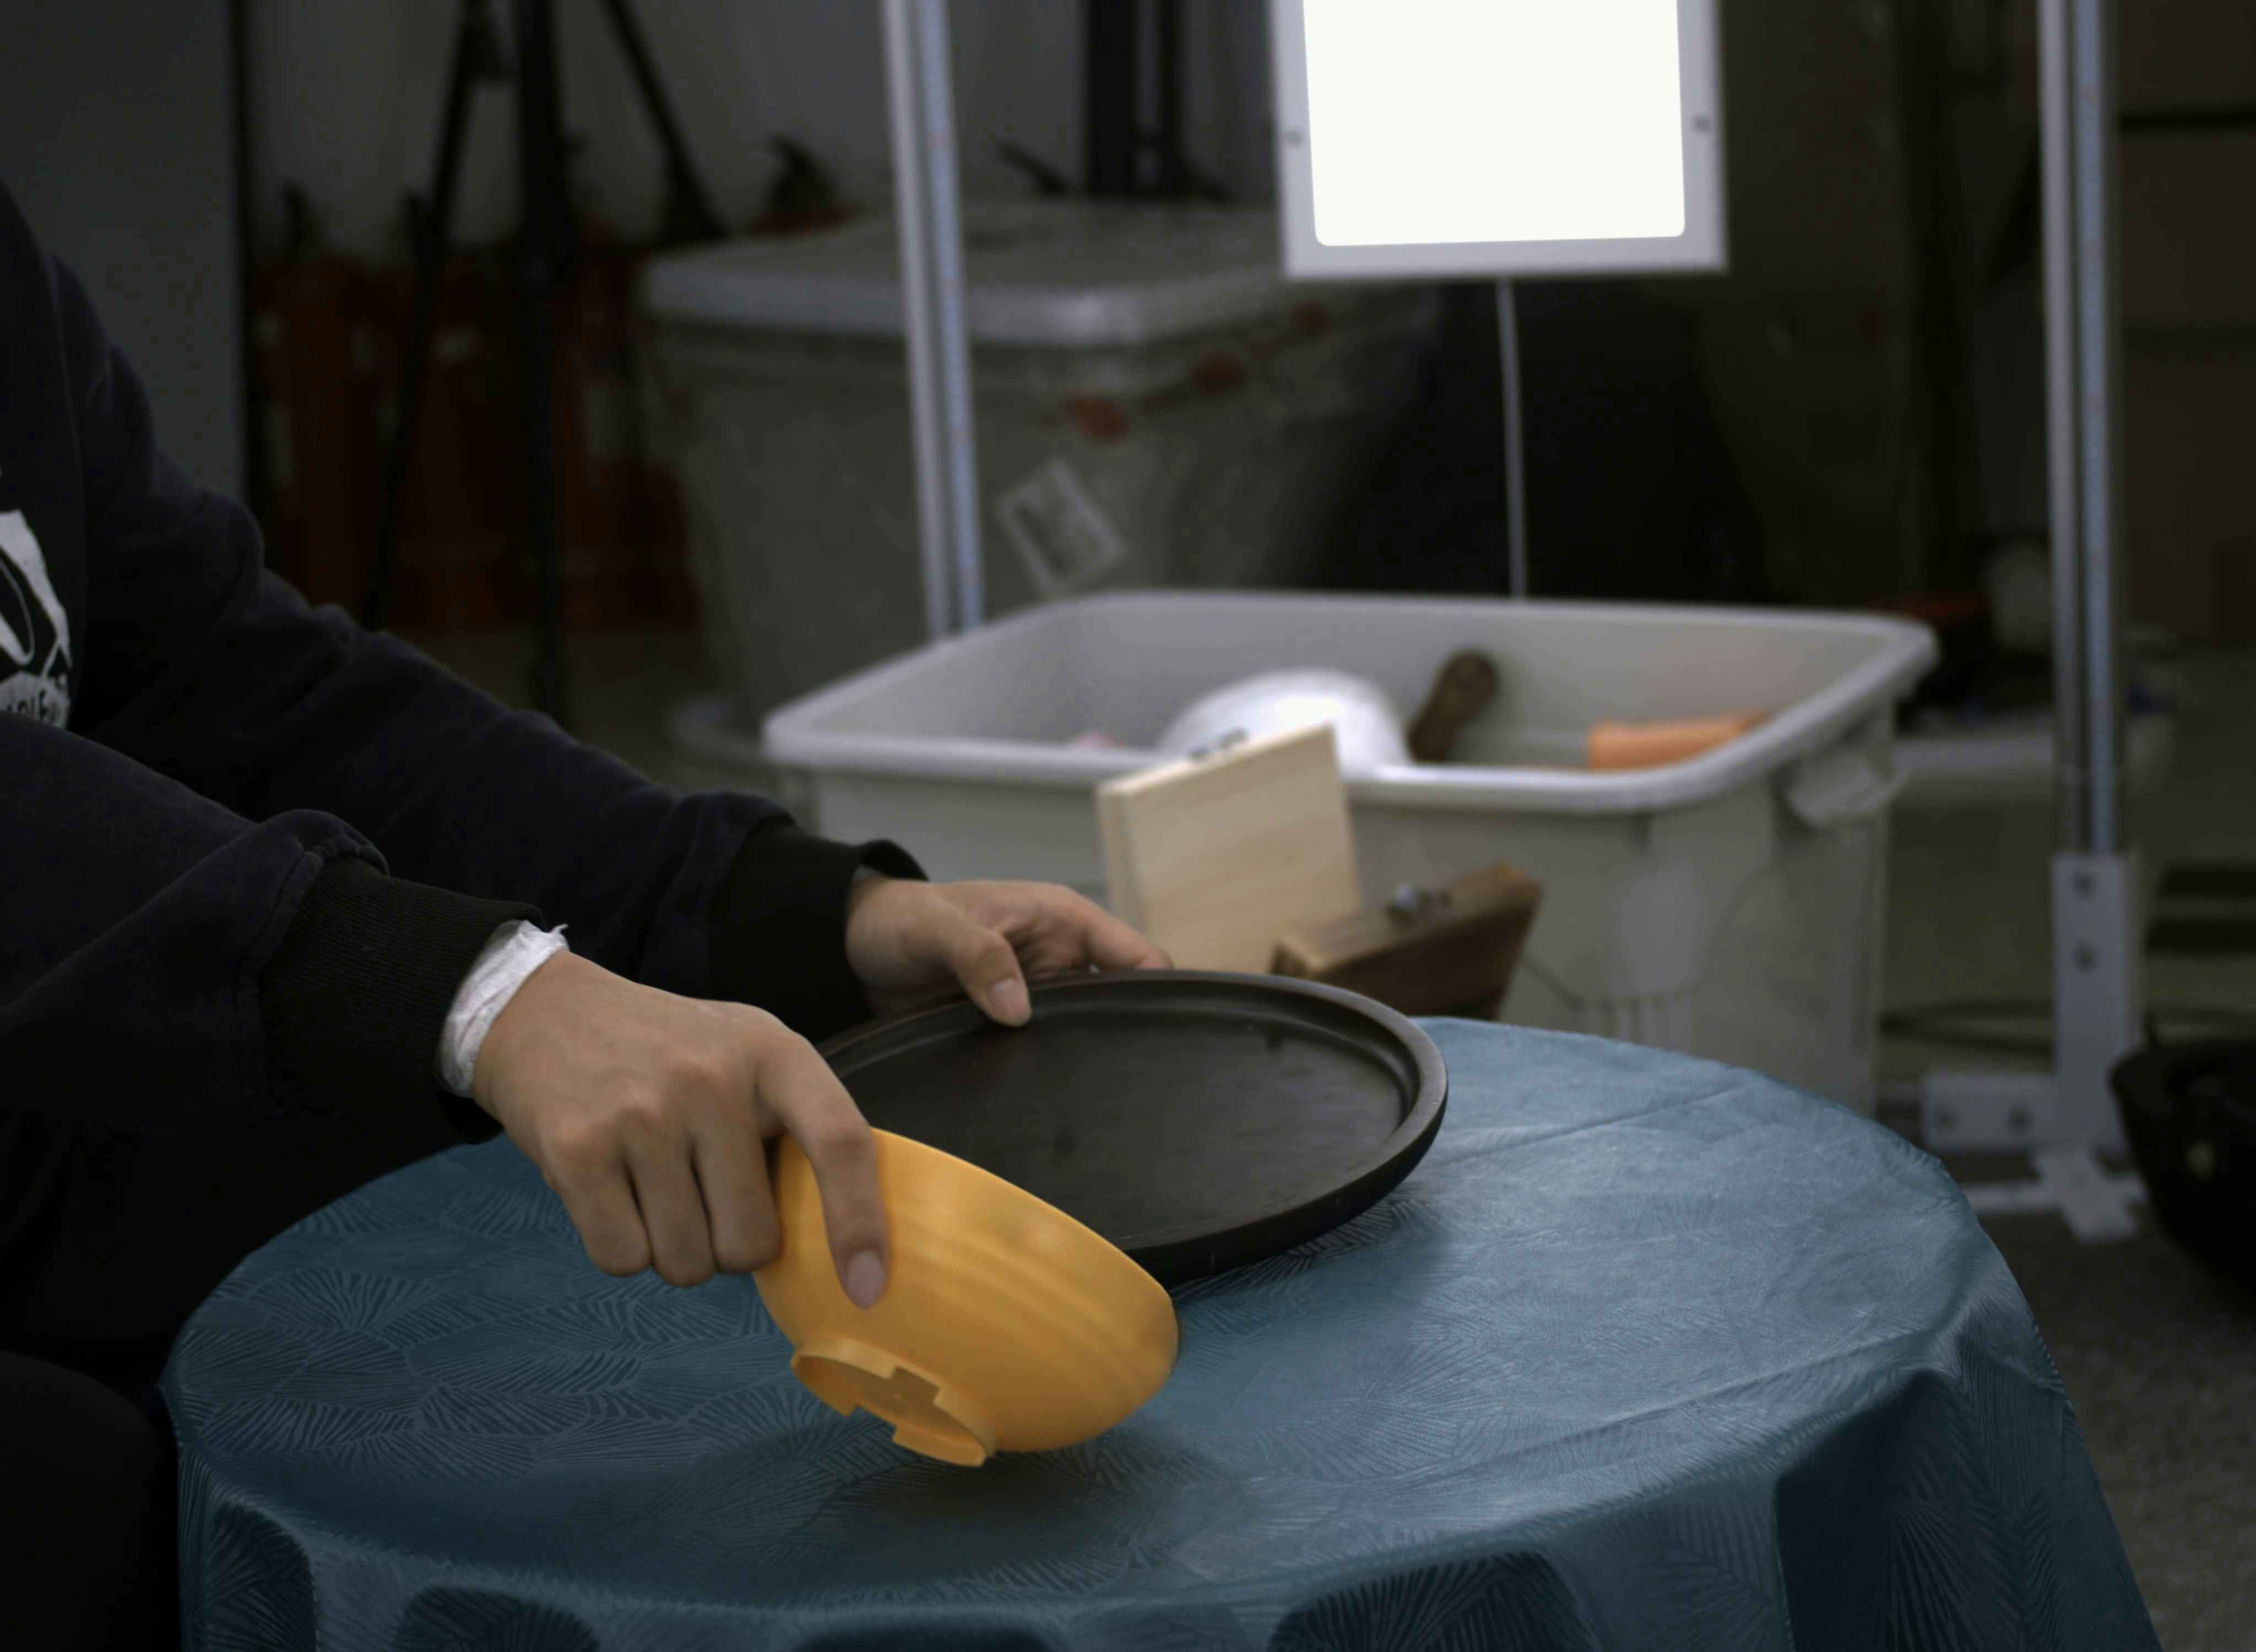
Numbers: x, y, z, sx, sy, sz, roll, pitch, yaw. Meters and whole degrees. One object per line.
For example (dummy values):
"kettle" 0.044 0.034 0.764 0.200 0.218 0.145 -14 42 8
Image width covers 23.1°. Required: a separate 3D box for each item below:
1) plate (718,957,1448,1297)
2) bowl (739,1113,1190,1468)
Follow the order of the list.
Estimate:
"plate" -0.014 0.105 1.895 0.254 0.029 0.254 -8 21 2
"bowl" -0.058 0.147 1.617 0.148 0.143 0.059 7 60 38
